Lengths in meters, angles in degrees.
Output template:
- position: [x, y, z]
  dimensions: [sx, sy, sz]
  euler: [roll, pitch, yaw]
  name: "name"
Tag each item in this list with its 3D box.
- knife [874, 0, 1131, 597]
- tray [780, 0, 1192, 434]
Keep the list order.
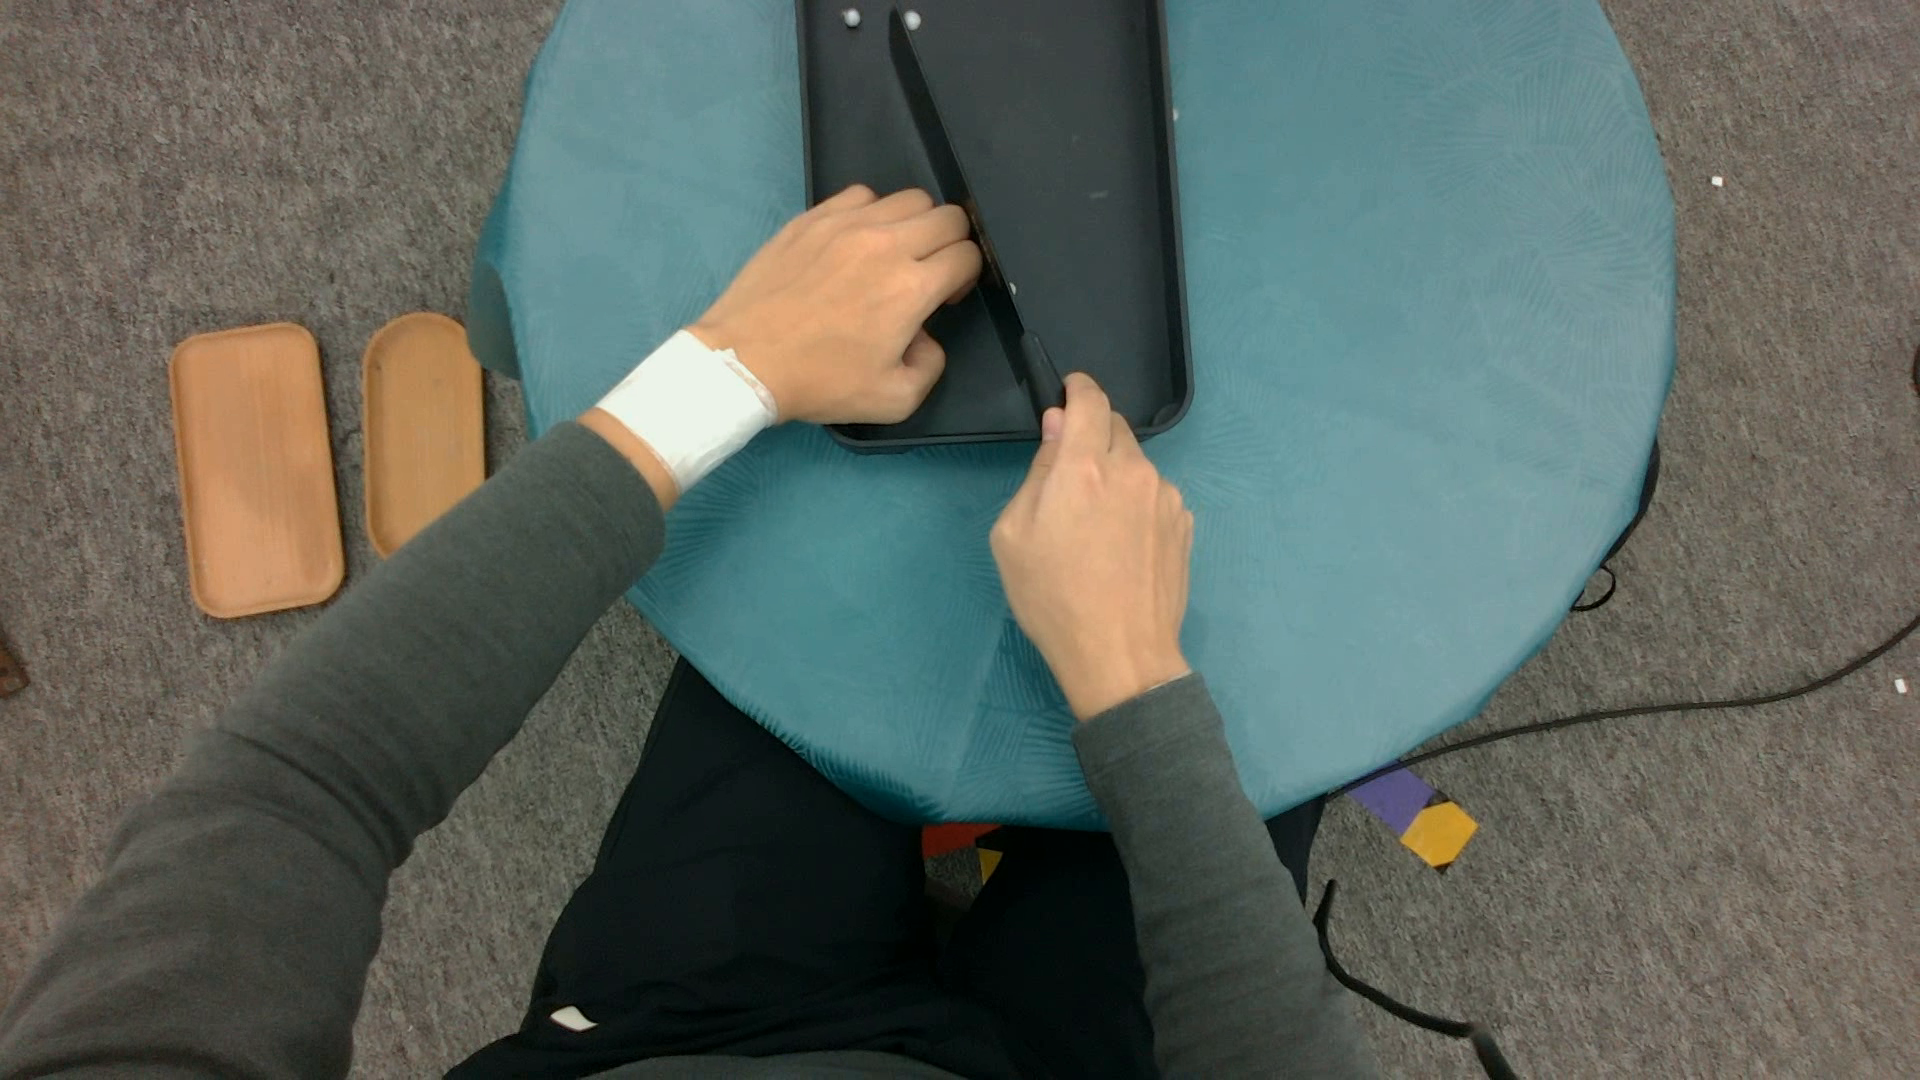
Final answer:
- position: [0.014, -0.116, 0.648]
  dimensions: [0.021, 0.081, 0.302]
  euler: [-21, 81, -6]
  name: "knife"
- position: [0.006, -0.214, 0.687]
  dimensions: [0.184, 0.037, 0.318]
  euler: [-5, 83, -5]
  name: "tray"
